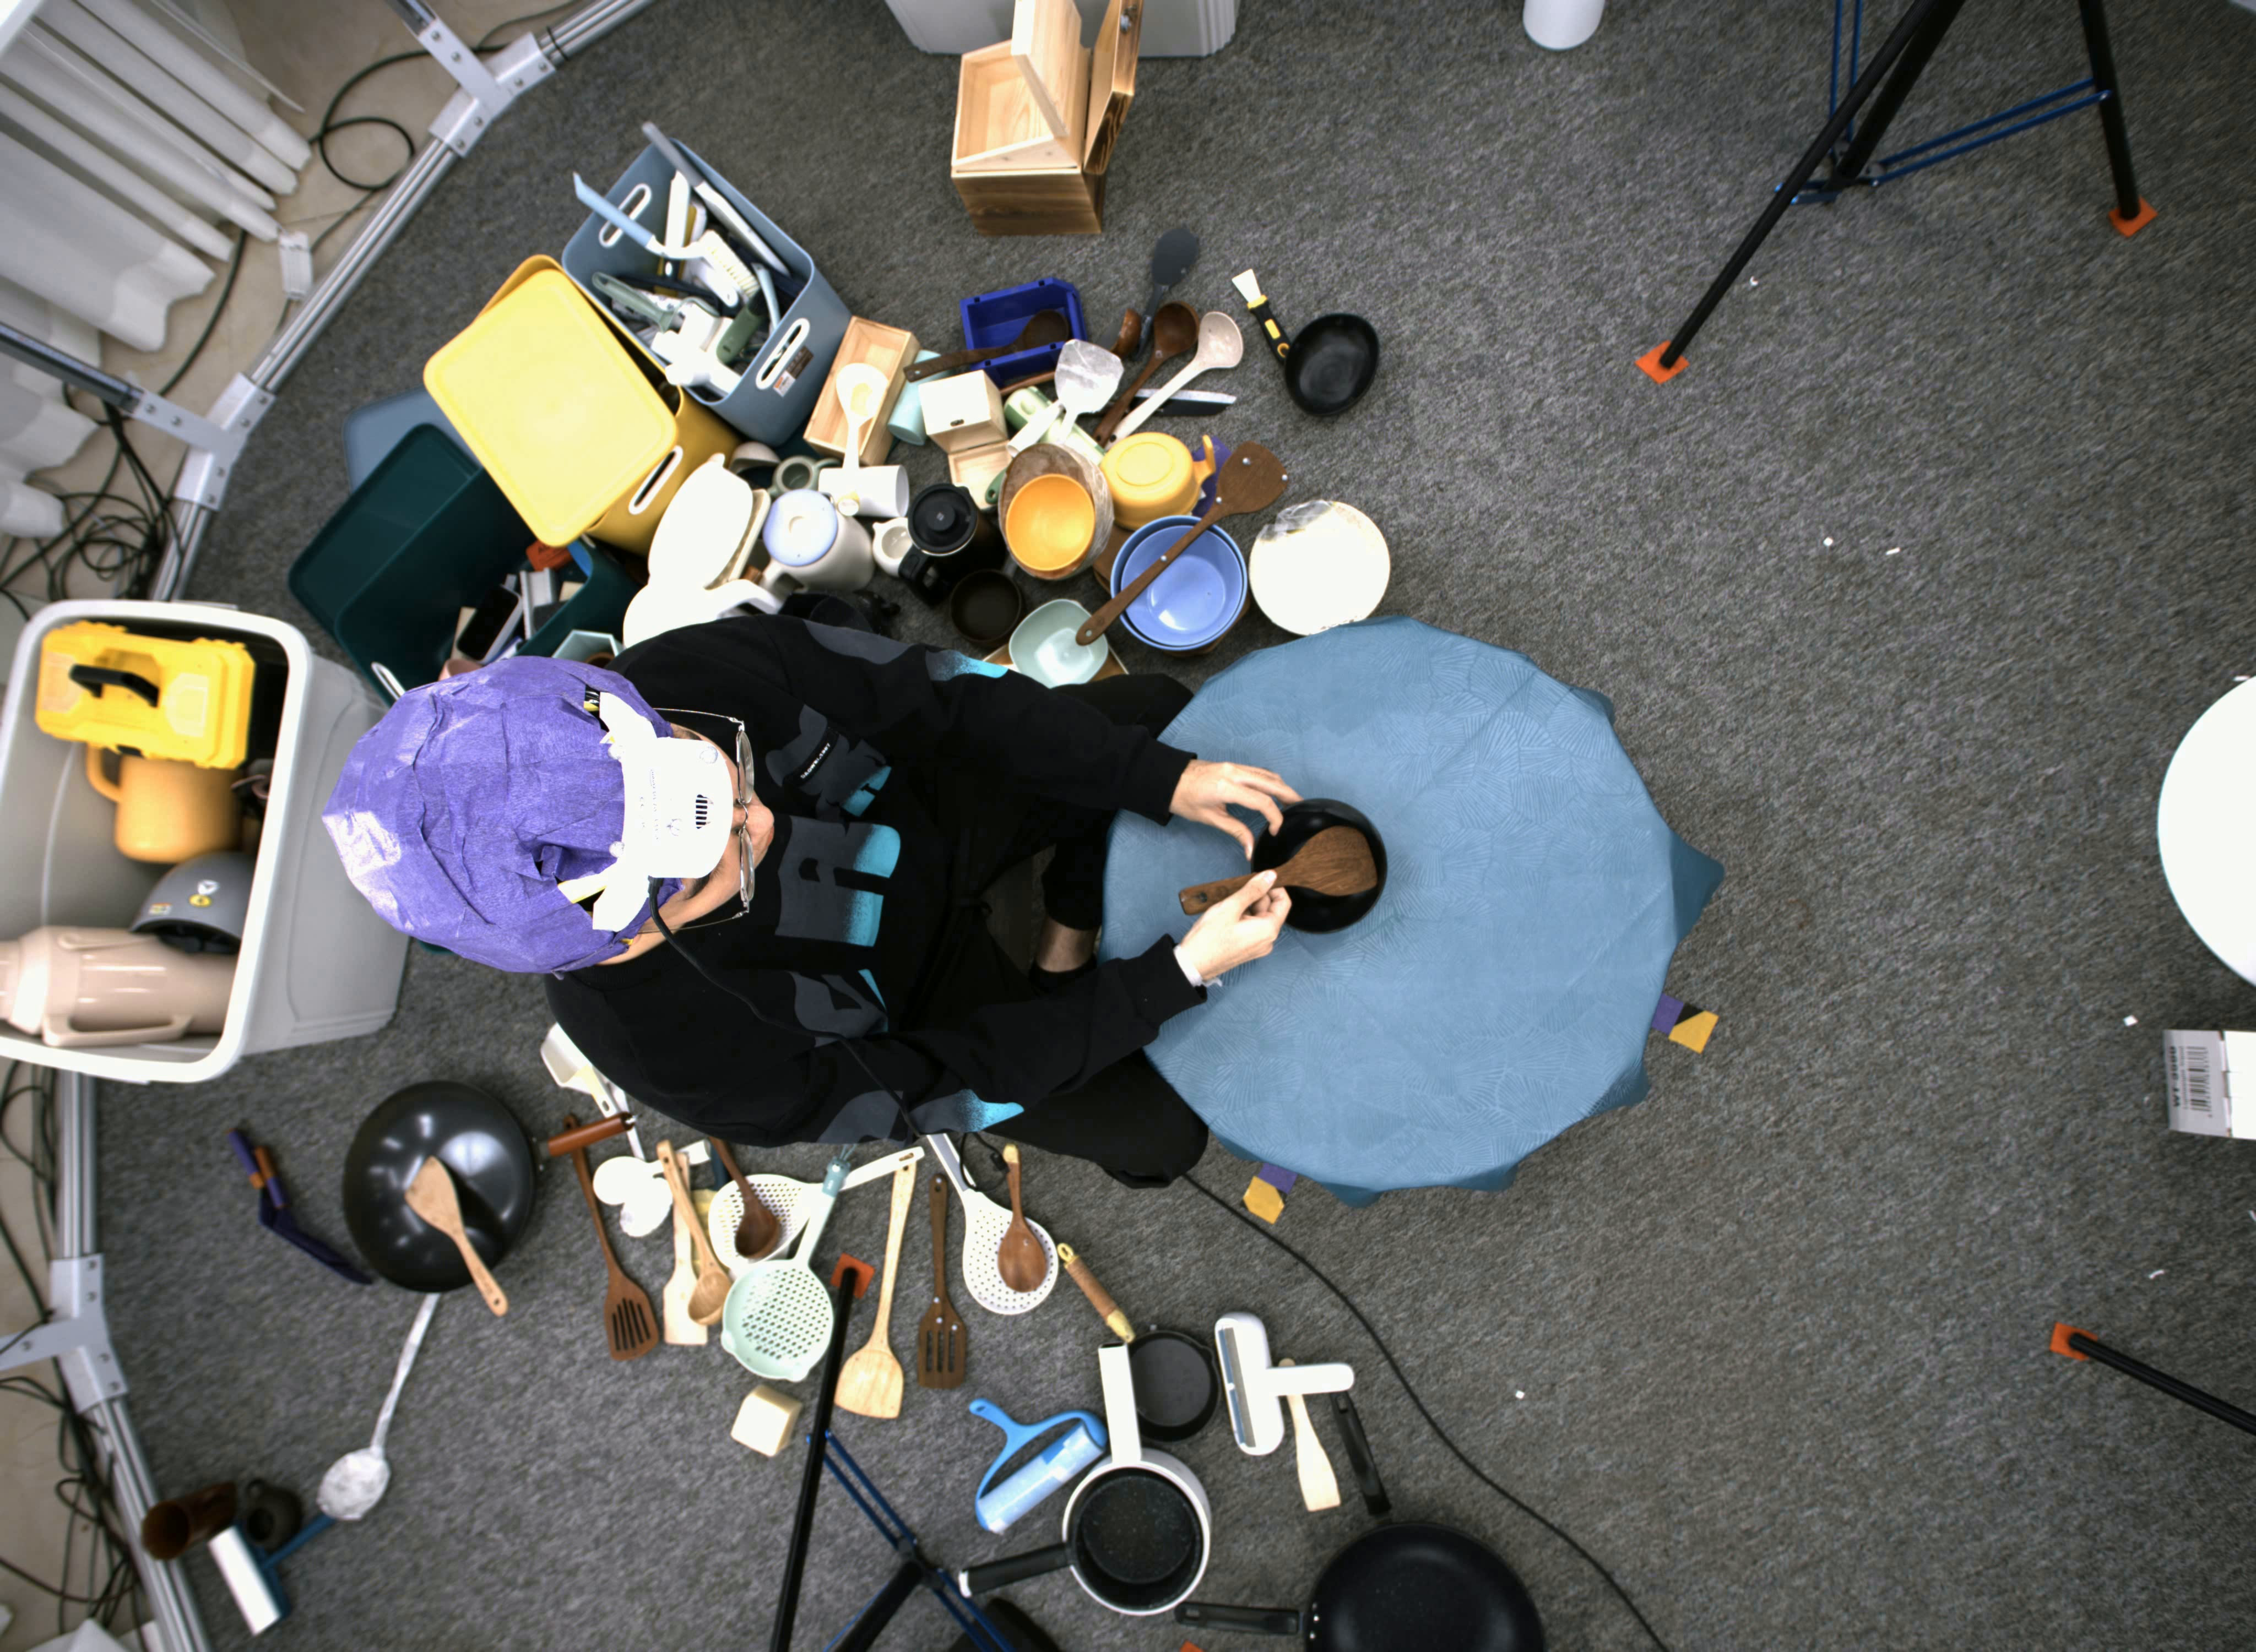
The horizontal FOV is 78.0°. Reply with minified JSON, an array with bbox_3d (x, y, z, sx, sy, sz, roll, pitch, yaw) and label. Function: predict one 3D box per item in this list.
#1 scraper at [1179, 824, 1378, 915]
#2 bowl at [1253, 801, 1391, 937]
[{"bbox_3d":[0.151,0.053,1.396,0.210,0.011,0.075,-13,85,-14],"label":"scraper"},{"bbox_3d":[0.199,0.043,1.426,0.140,0.049,0.140,0,90,8],"label":"bowl"}]
